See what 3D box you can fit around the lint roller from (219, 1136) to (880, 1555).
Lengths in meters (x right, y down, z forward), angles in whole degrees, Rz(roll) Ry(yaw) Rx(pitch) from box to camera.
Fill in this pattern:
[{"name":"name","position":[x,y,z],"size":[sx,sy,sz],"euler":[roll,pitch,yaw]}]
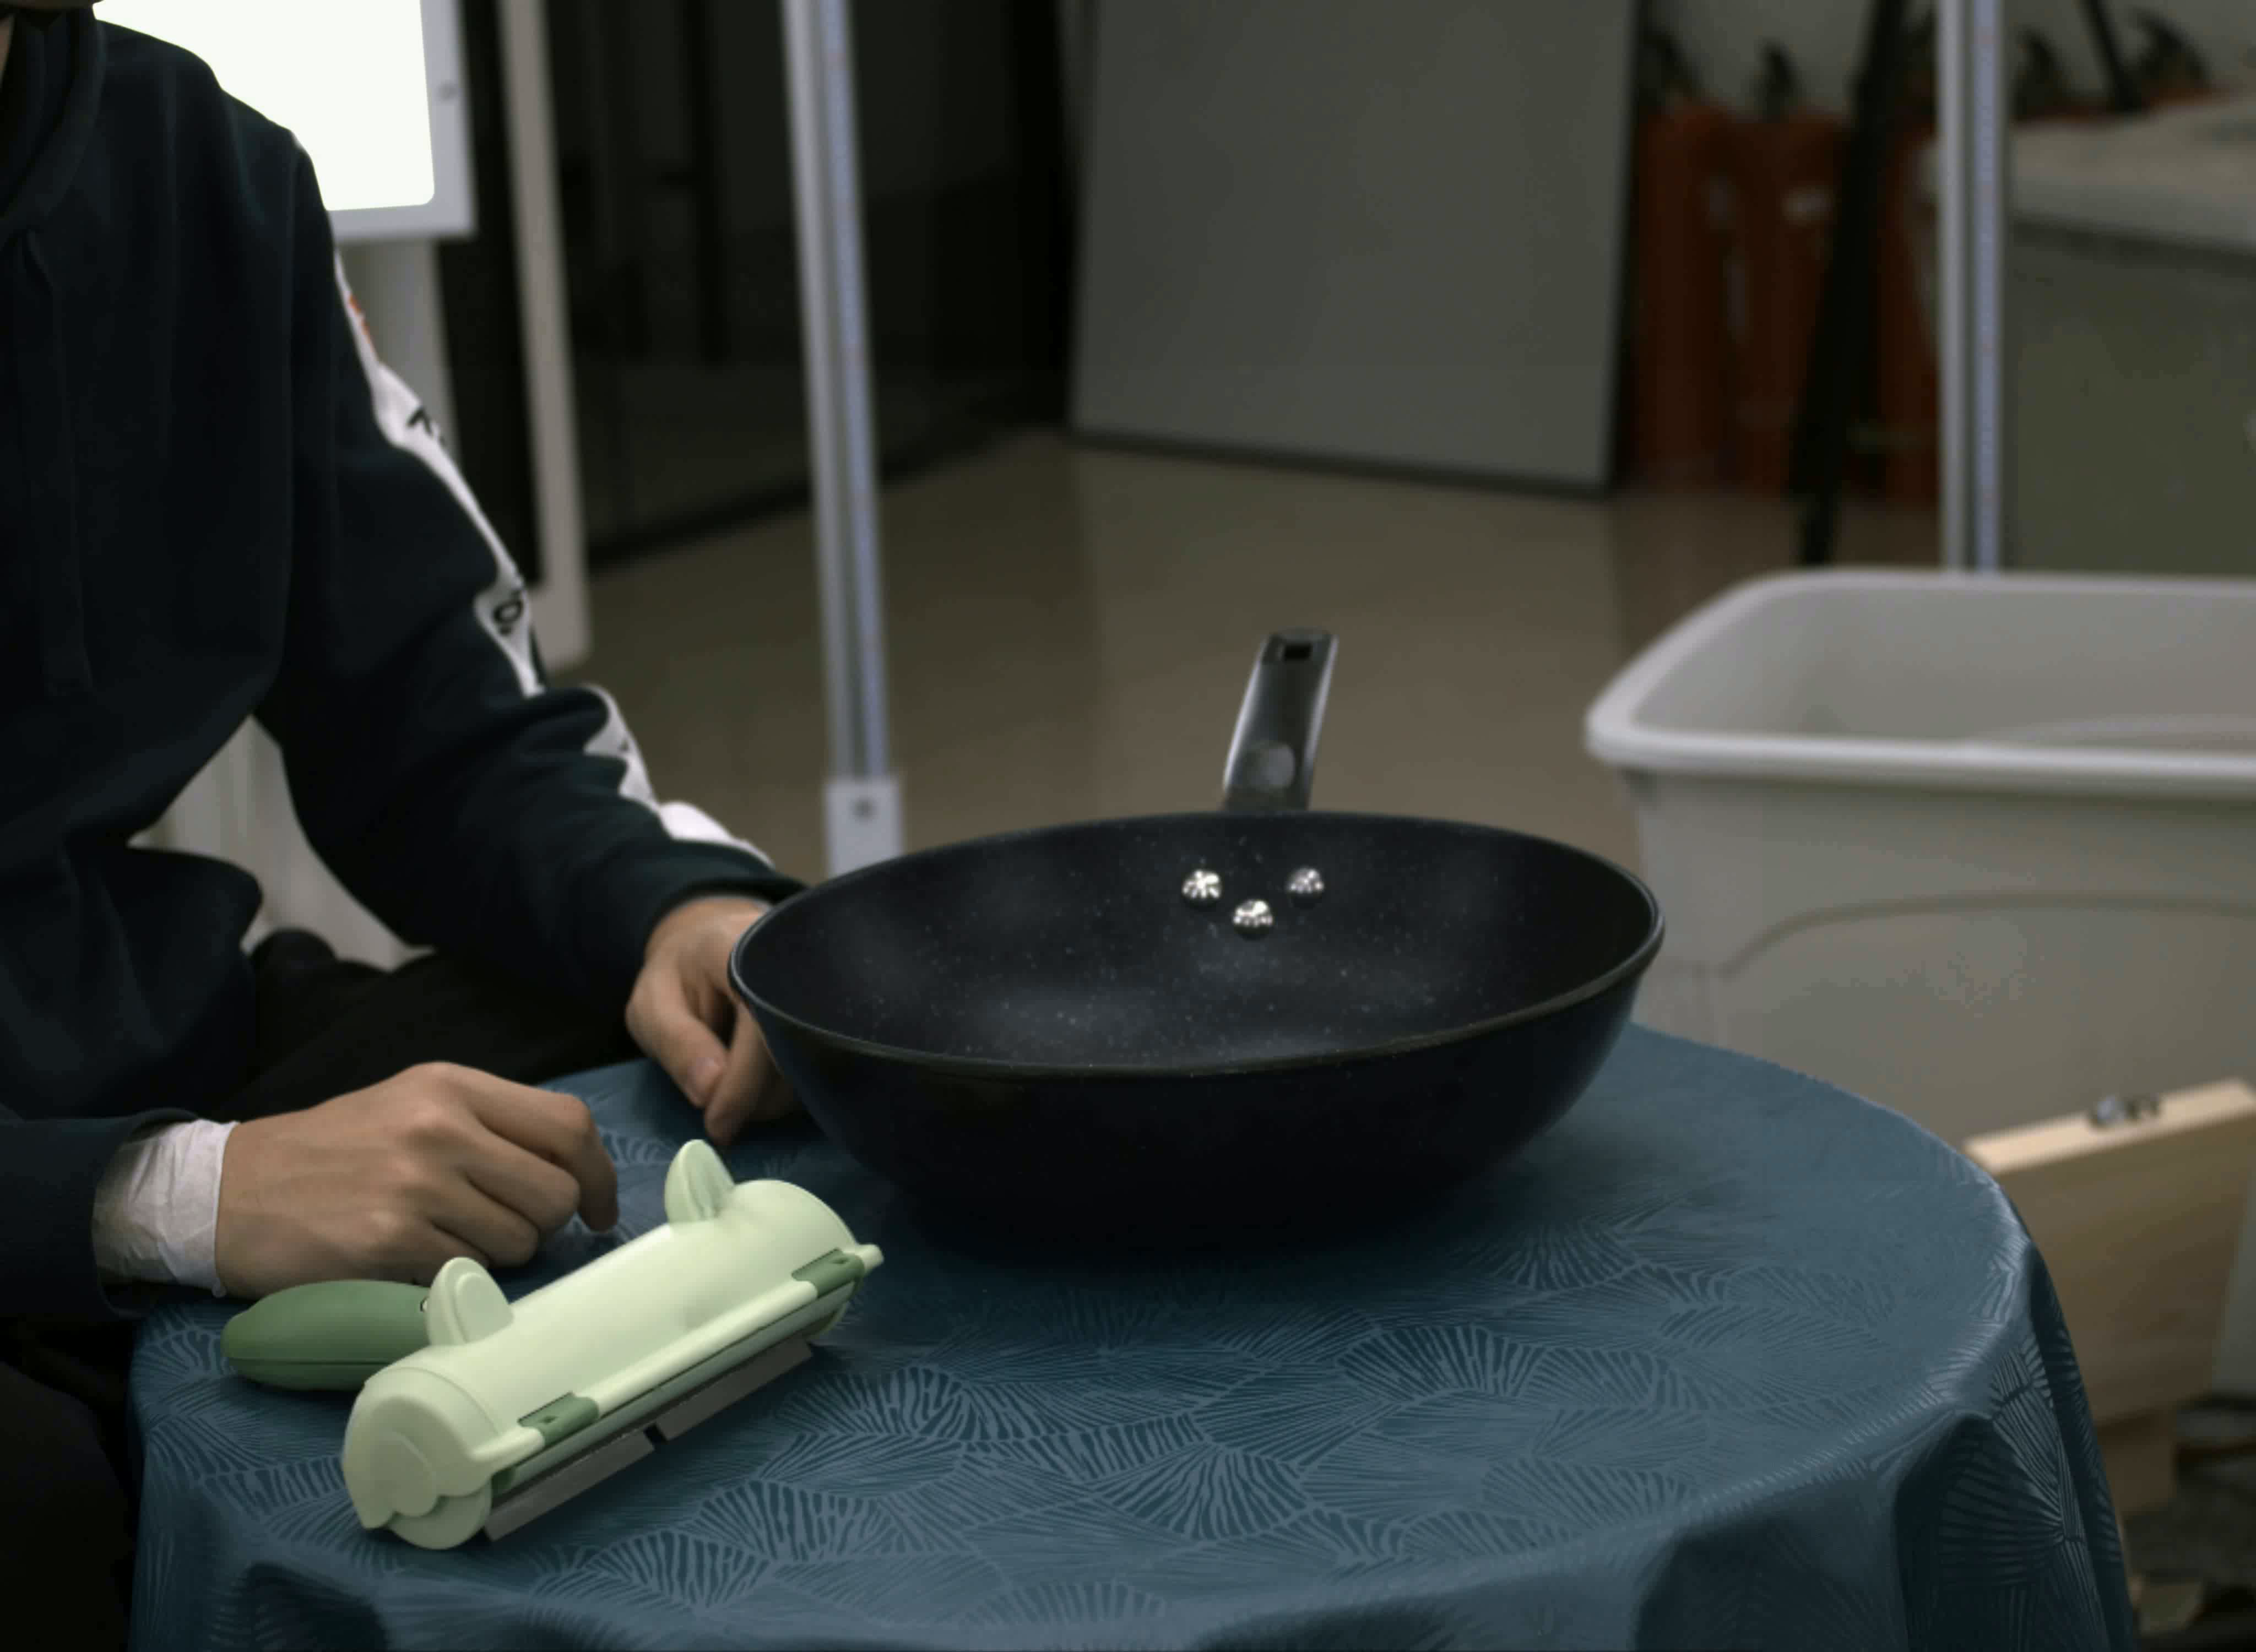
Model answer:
[{"name":"lint roller","position":[-0.197,0.139,1.598],"size":[0.184,0.083,0.195],"euler":[11,20,31]}]

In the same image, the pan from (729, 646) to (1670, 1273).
[{"name":"pan","position":[0.036,0.046,1.843],"size":[0.308,0.113,0.475],"euler":[0,15,9]}]
